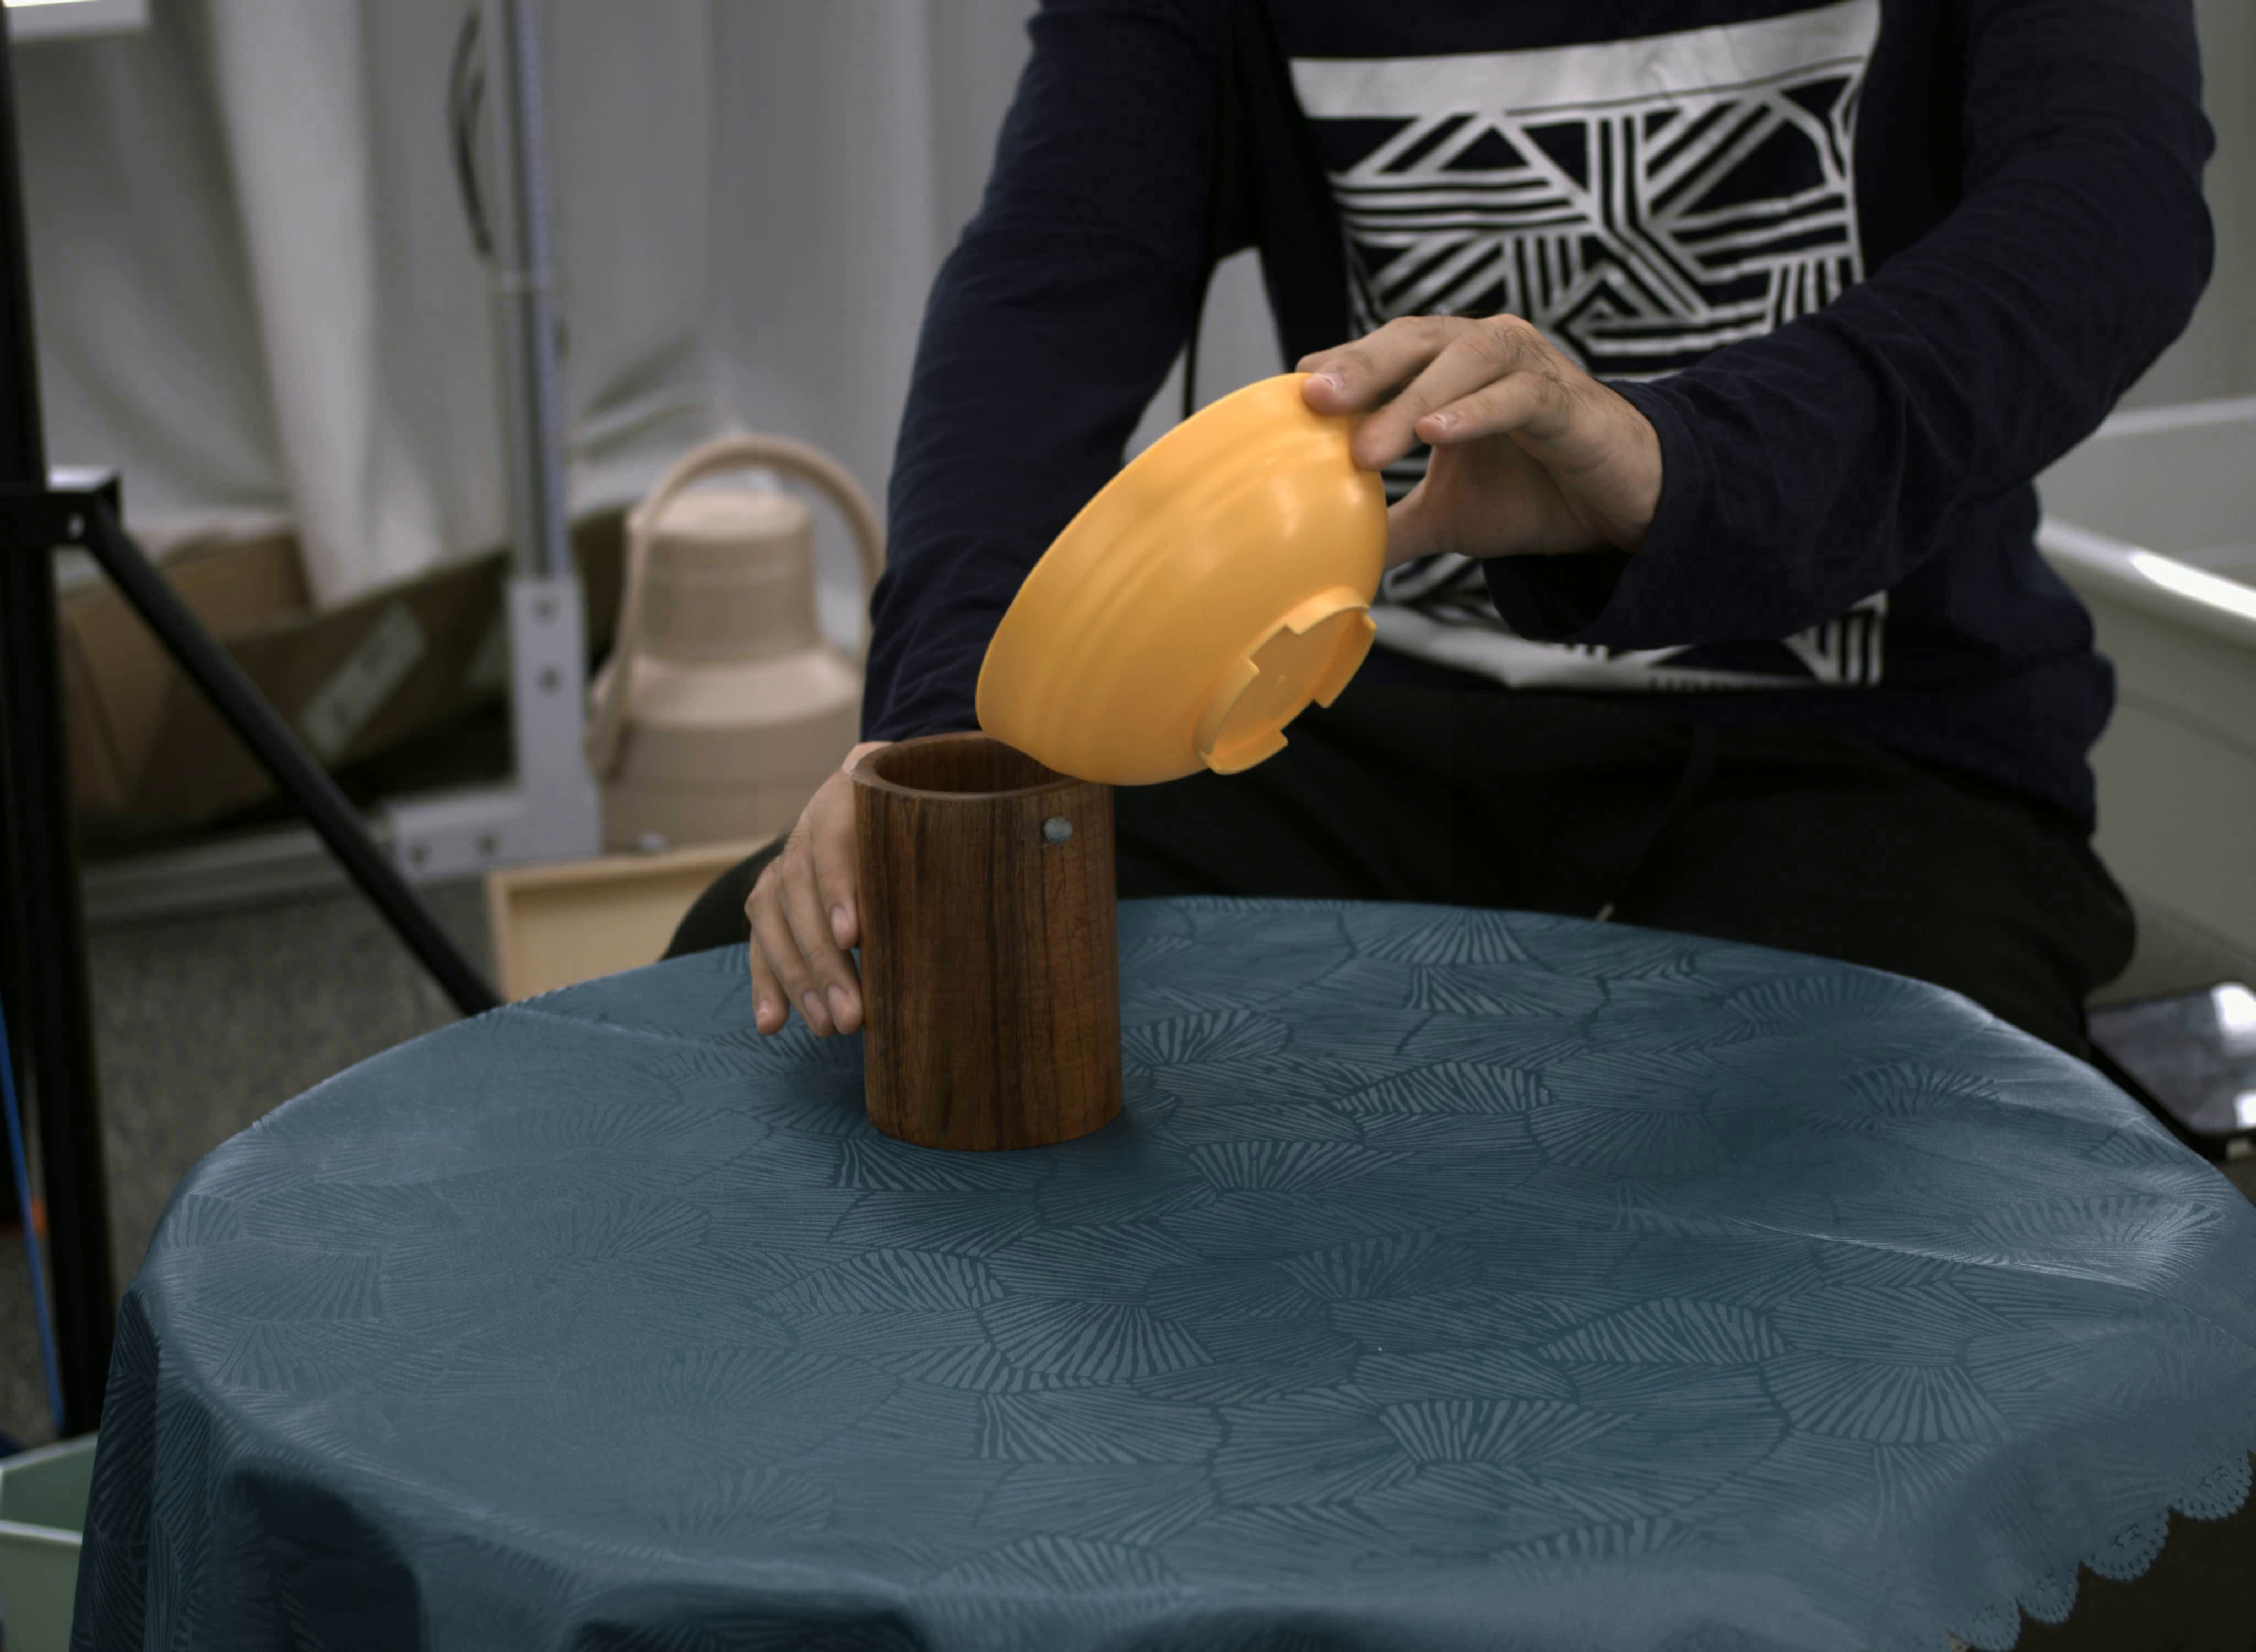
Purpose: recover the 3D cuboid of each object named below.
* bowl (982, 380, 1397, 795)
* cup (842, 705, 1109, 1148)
[{"bbox_3d":[0.031,-0.056,1.549,0.142,0.146,0.061,-19,58,-46],"label":"bowl"},{"bbox_3d":[-0.046,0.030,1.627,0.087,0.118,0.088,0,16,-1],"label":"cup"}]
